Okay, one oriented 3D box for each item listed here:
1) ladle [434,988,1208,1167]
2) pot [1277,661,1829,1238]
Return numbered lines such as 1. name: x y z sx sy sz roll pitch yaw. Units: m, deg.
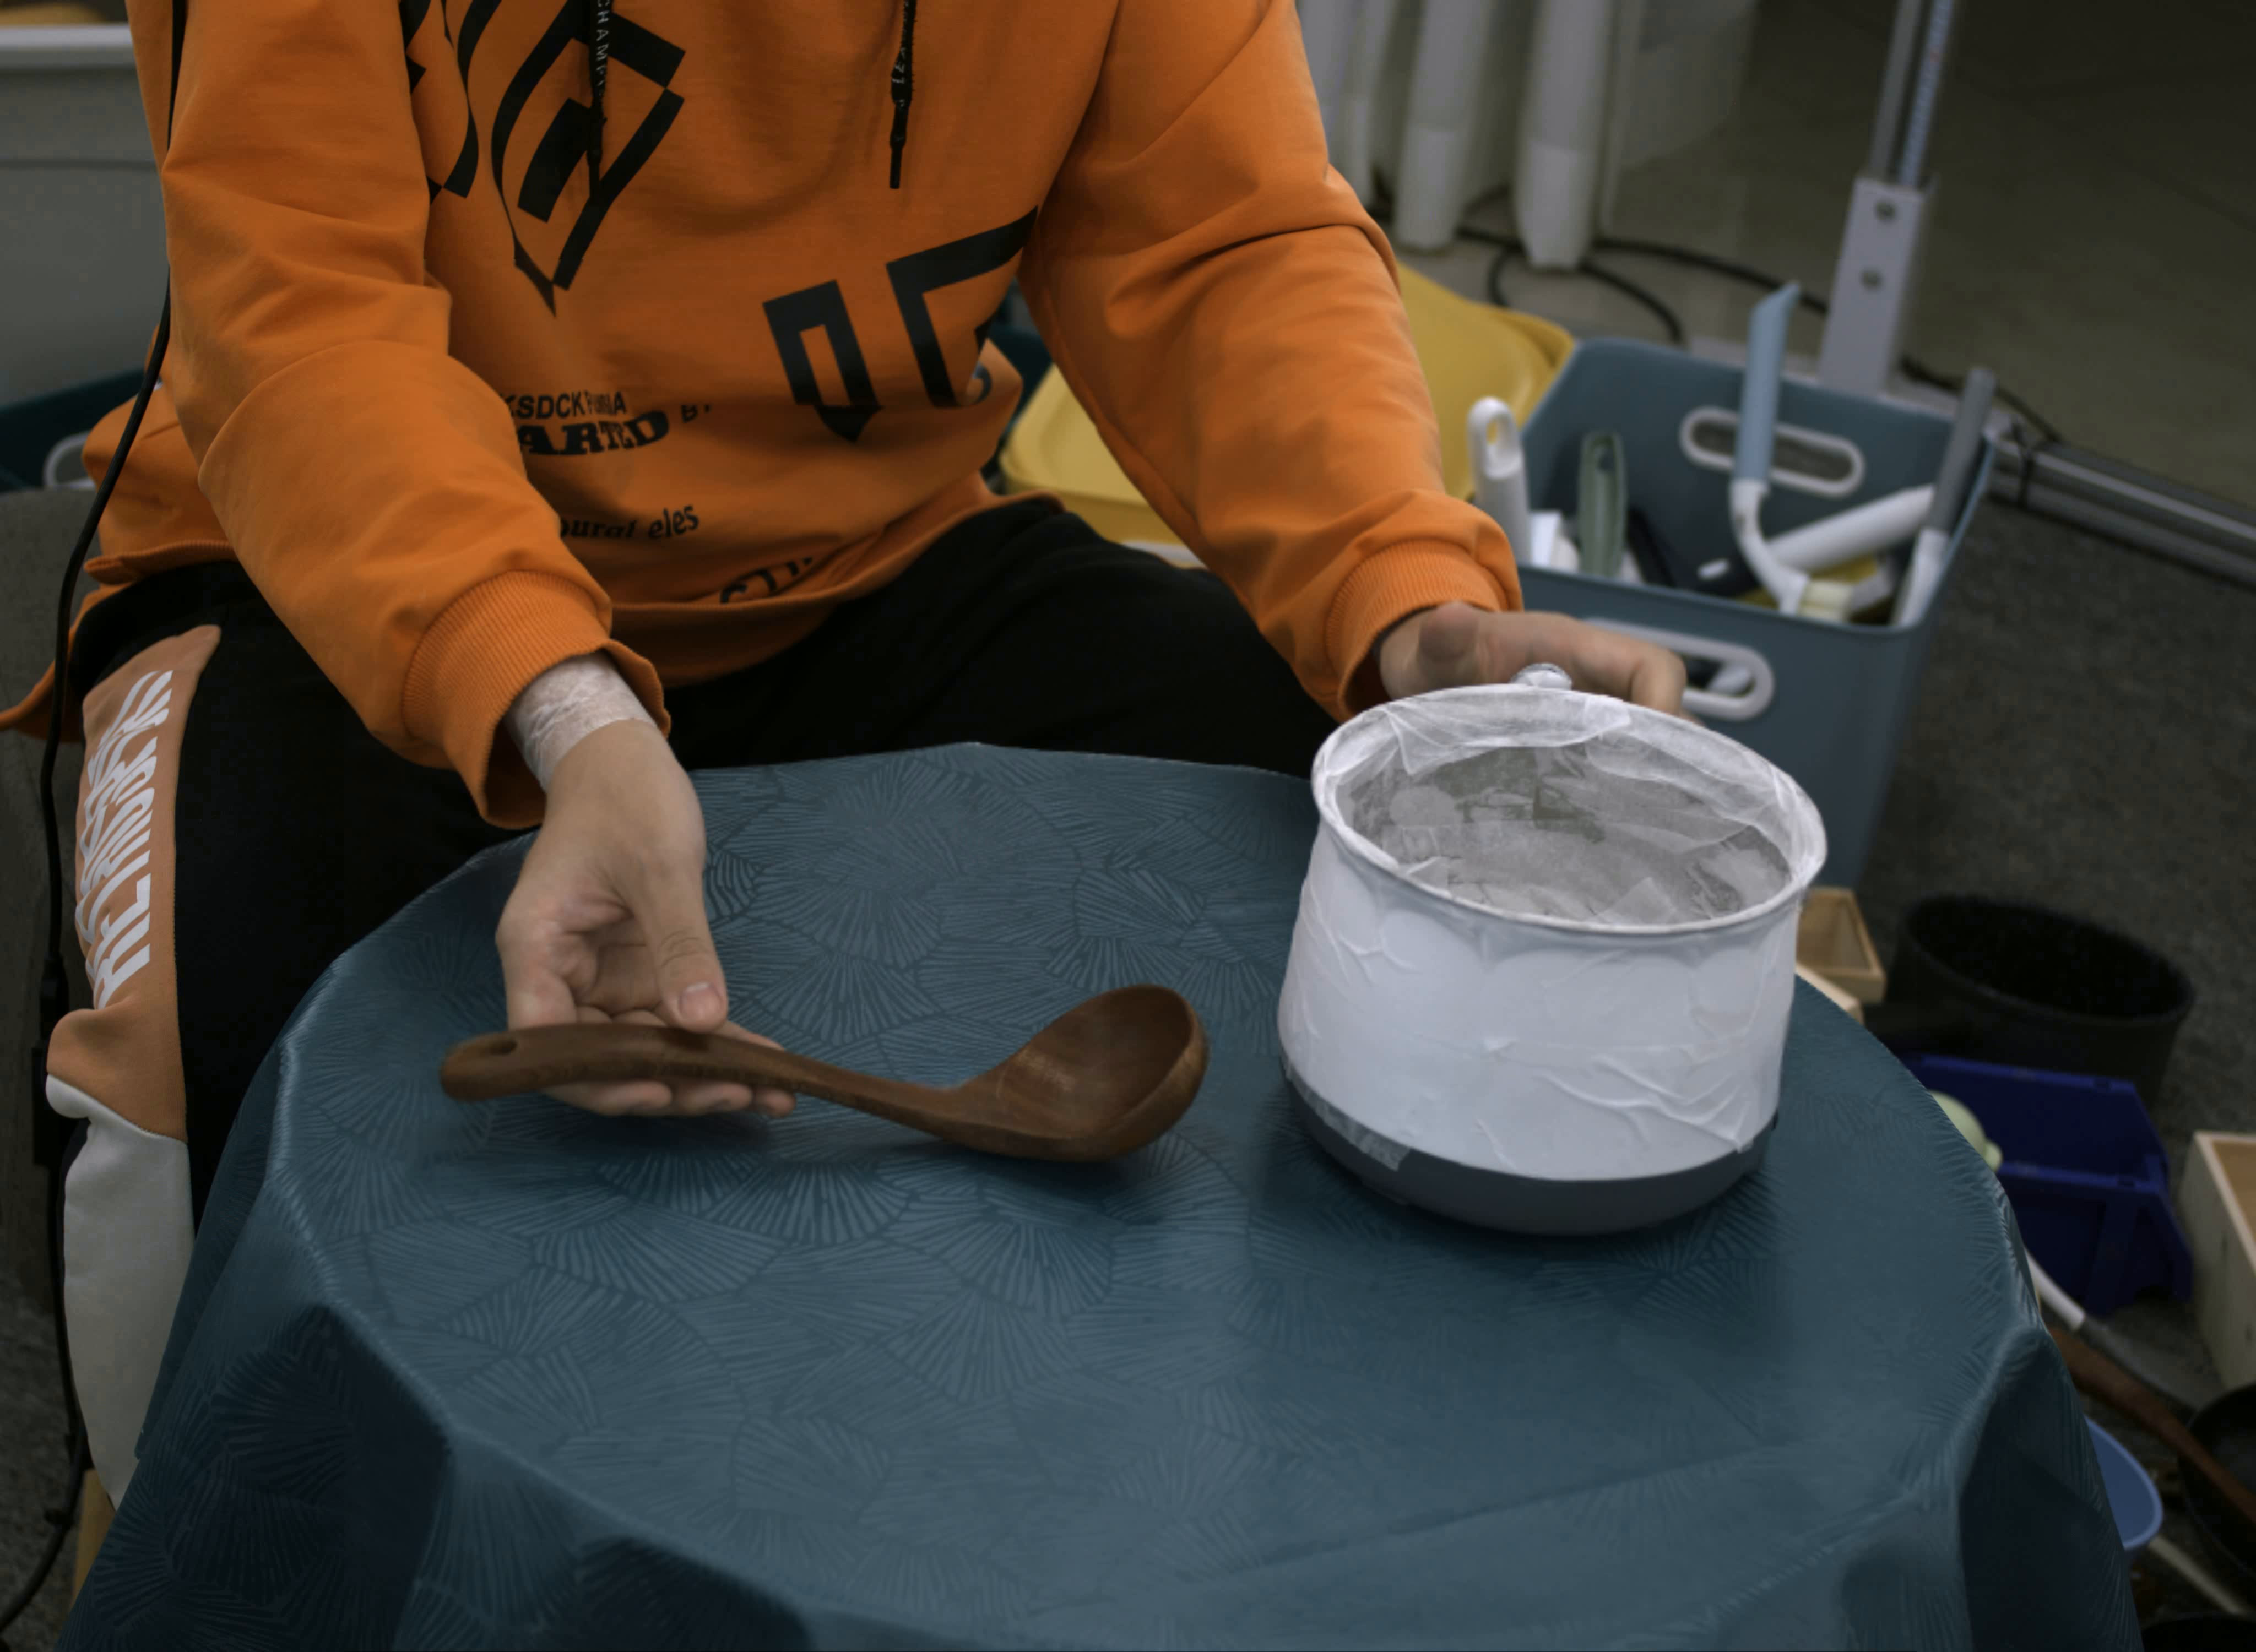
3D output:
1. ladle: -0.101 0.074 1.788 0.258 0.065 0.077 8 22 -15
2. pot: 0.142 0.035 1.856 0.178 0.136 0.235 5 27 -5
